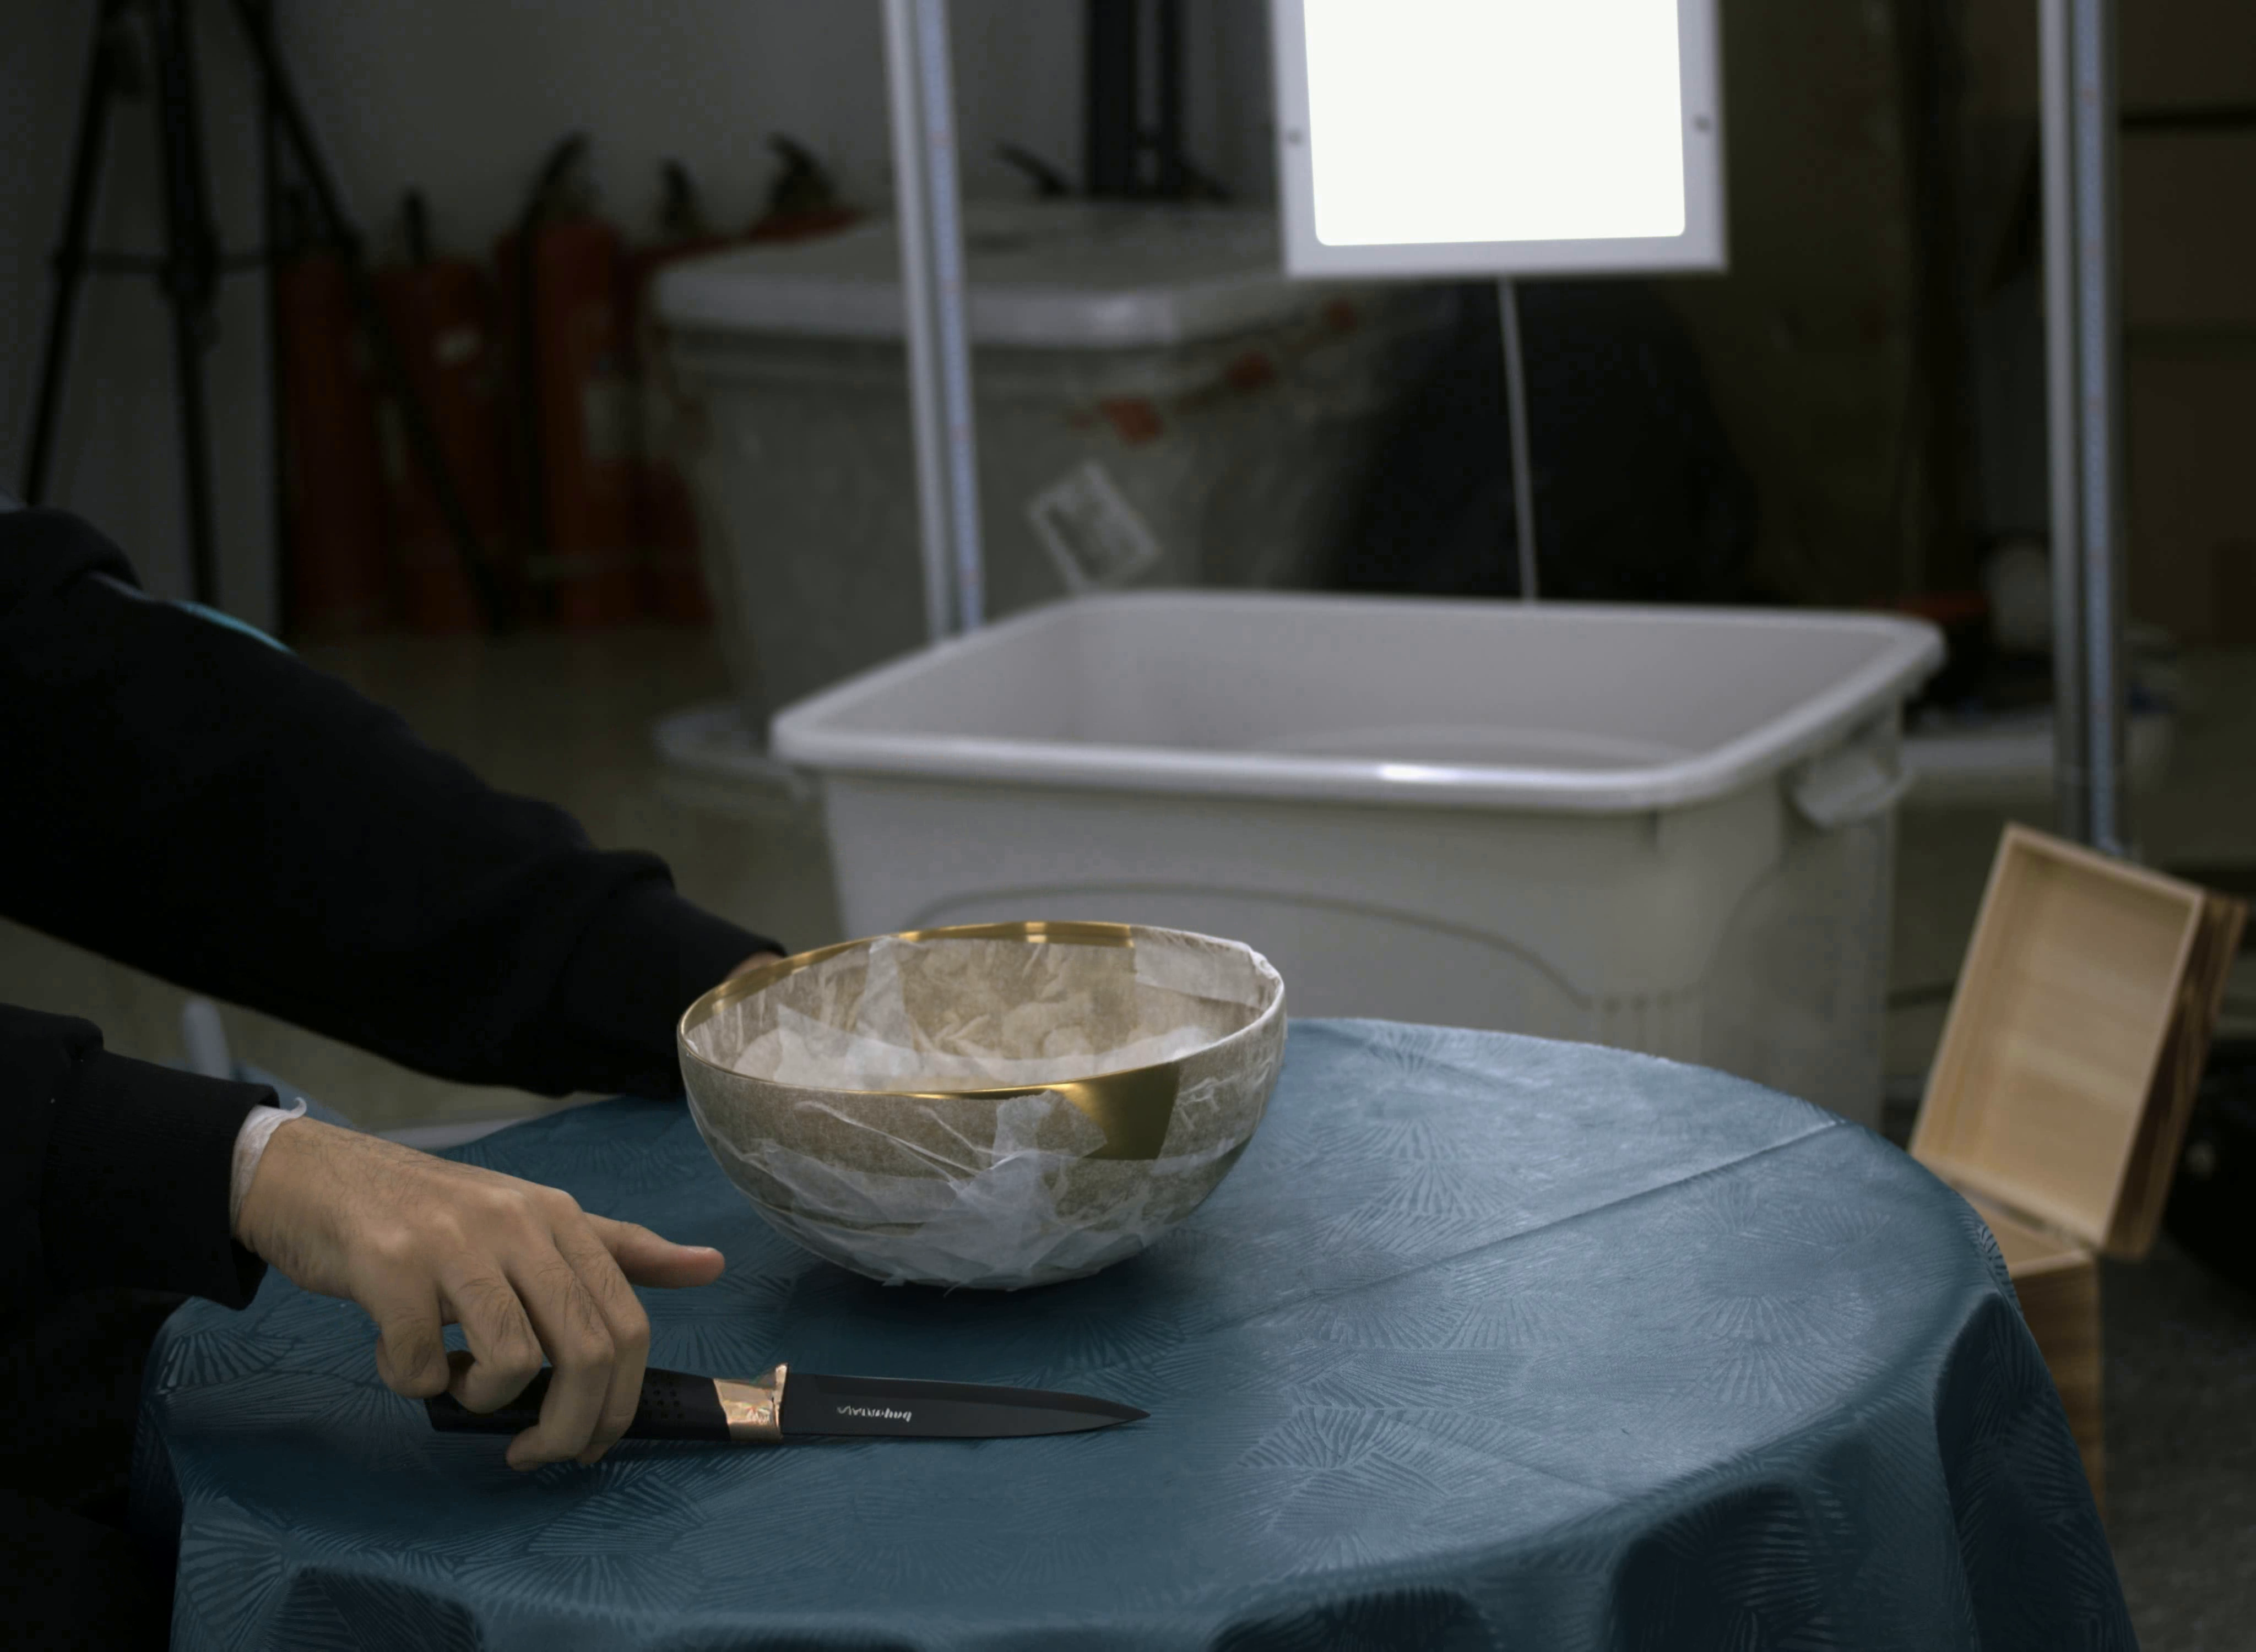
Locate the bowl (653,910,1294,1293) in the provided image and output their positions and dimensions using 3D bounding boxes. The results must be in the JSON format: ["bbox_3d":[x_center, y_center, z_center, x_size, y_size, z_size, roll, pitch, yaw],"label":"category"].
[{"bbox_3d":[-0.048,0.099,1.826,0.214,0.095,0.214,-5,15,0],"label":"bowl"}]

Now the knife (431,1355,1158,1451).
[{"bbox_3d":[-0.102,0.176,1.687,0.226,0.017,0.026,-3,53,9],"label":"knife"}]
